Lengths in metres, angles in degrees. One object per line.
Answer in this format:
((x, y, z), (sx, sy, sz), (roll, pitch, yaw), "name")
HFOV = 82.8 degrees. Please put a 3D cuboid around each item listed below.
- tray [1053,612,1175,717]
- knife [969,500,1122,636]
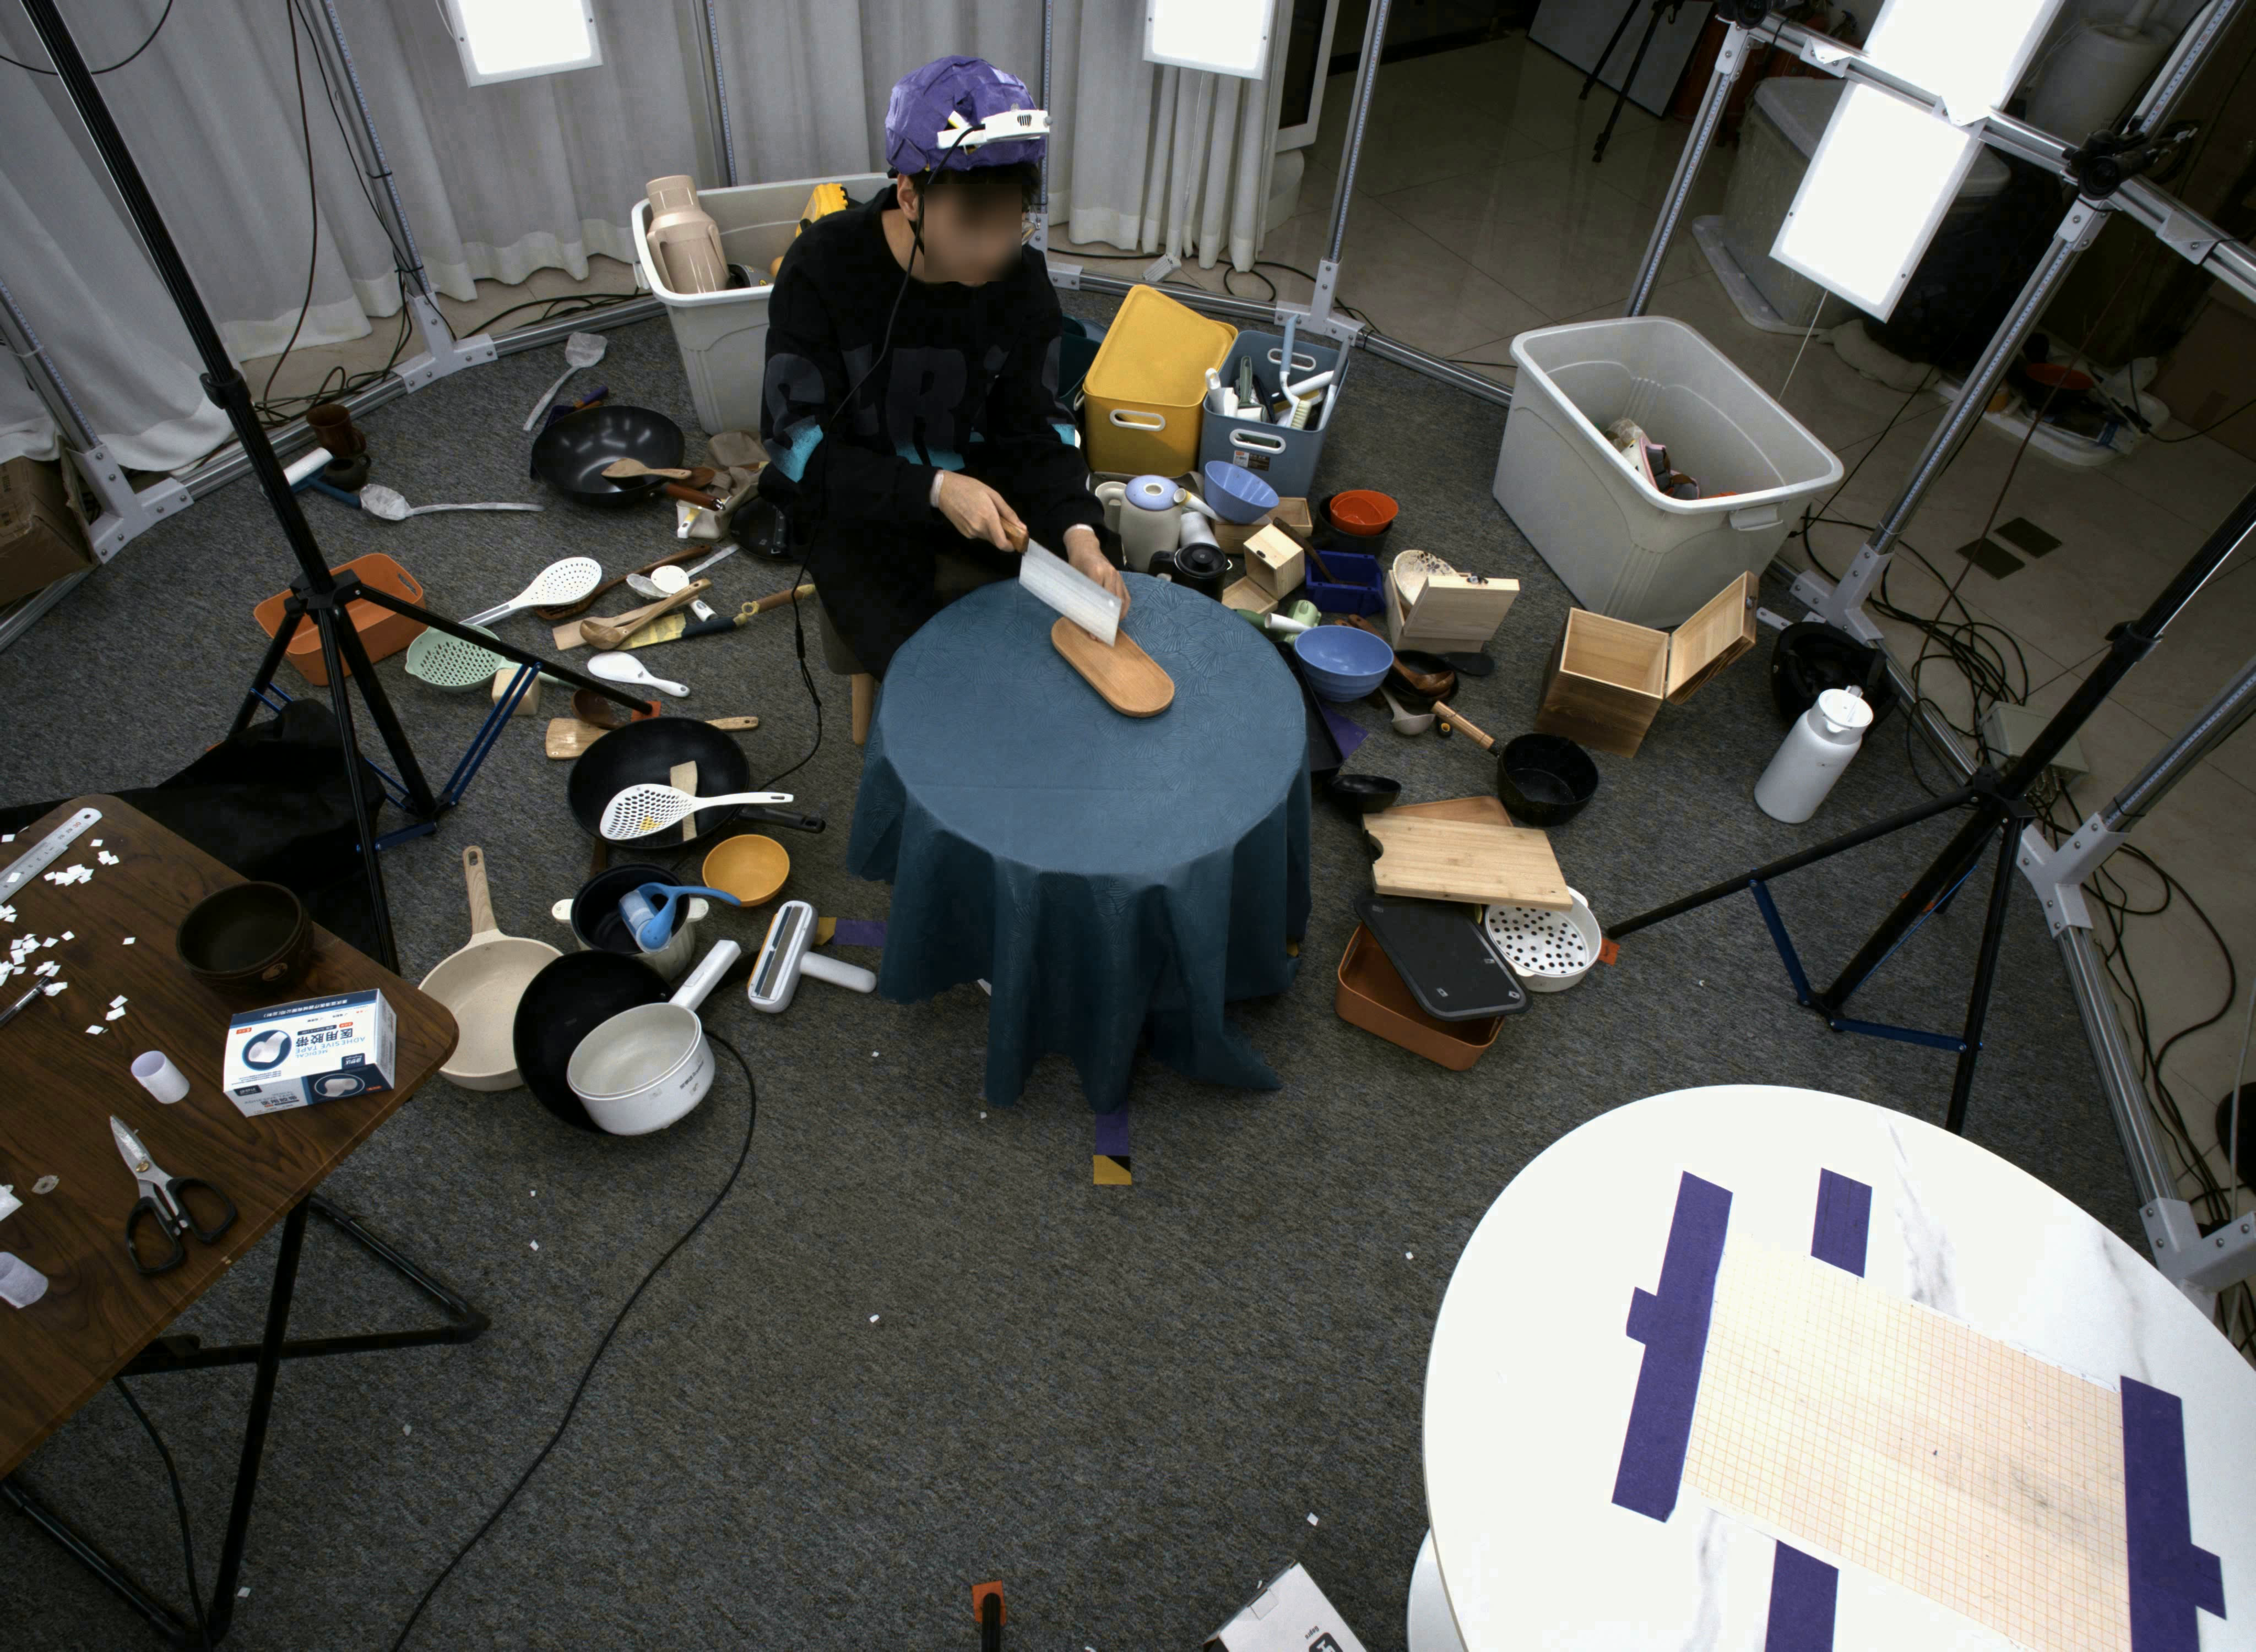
((-0.021, -0.238, 1.862), (0.102, 0.020, 0.235), (-25, 54, -25), "tray")
((-0.123, -0.375, 1.890), (0.310, 0.091, 0.021), (37, 52, 23), "knife")
